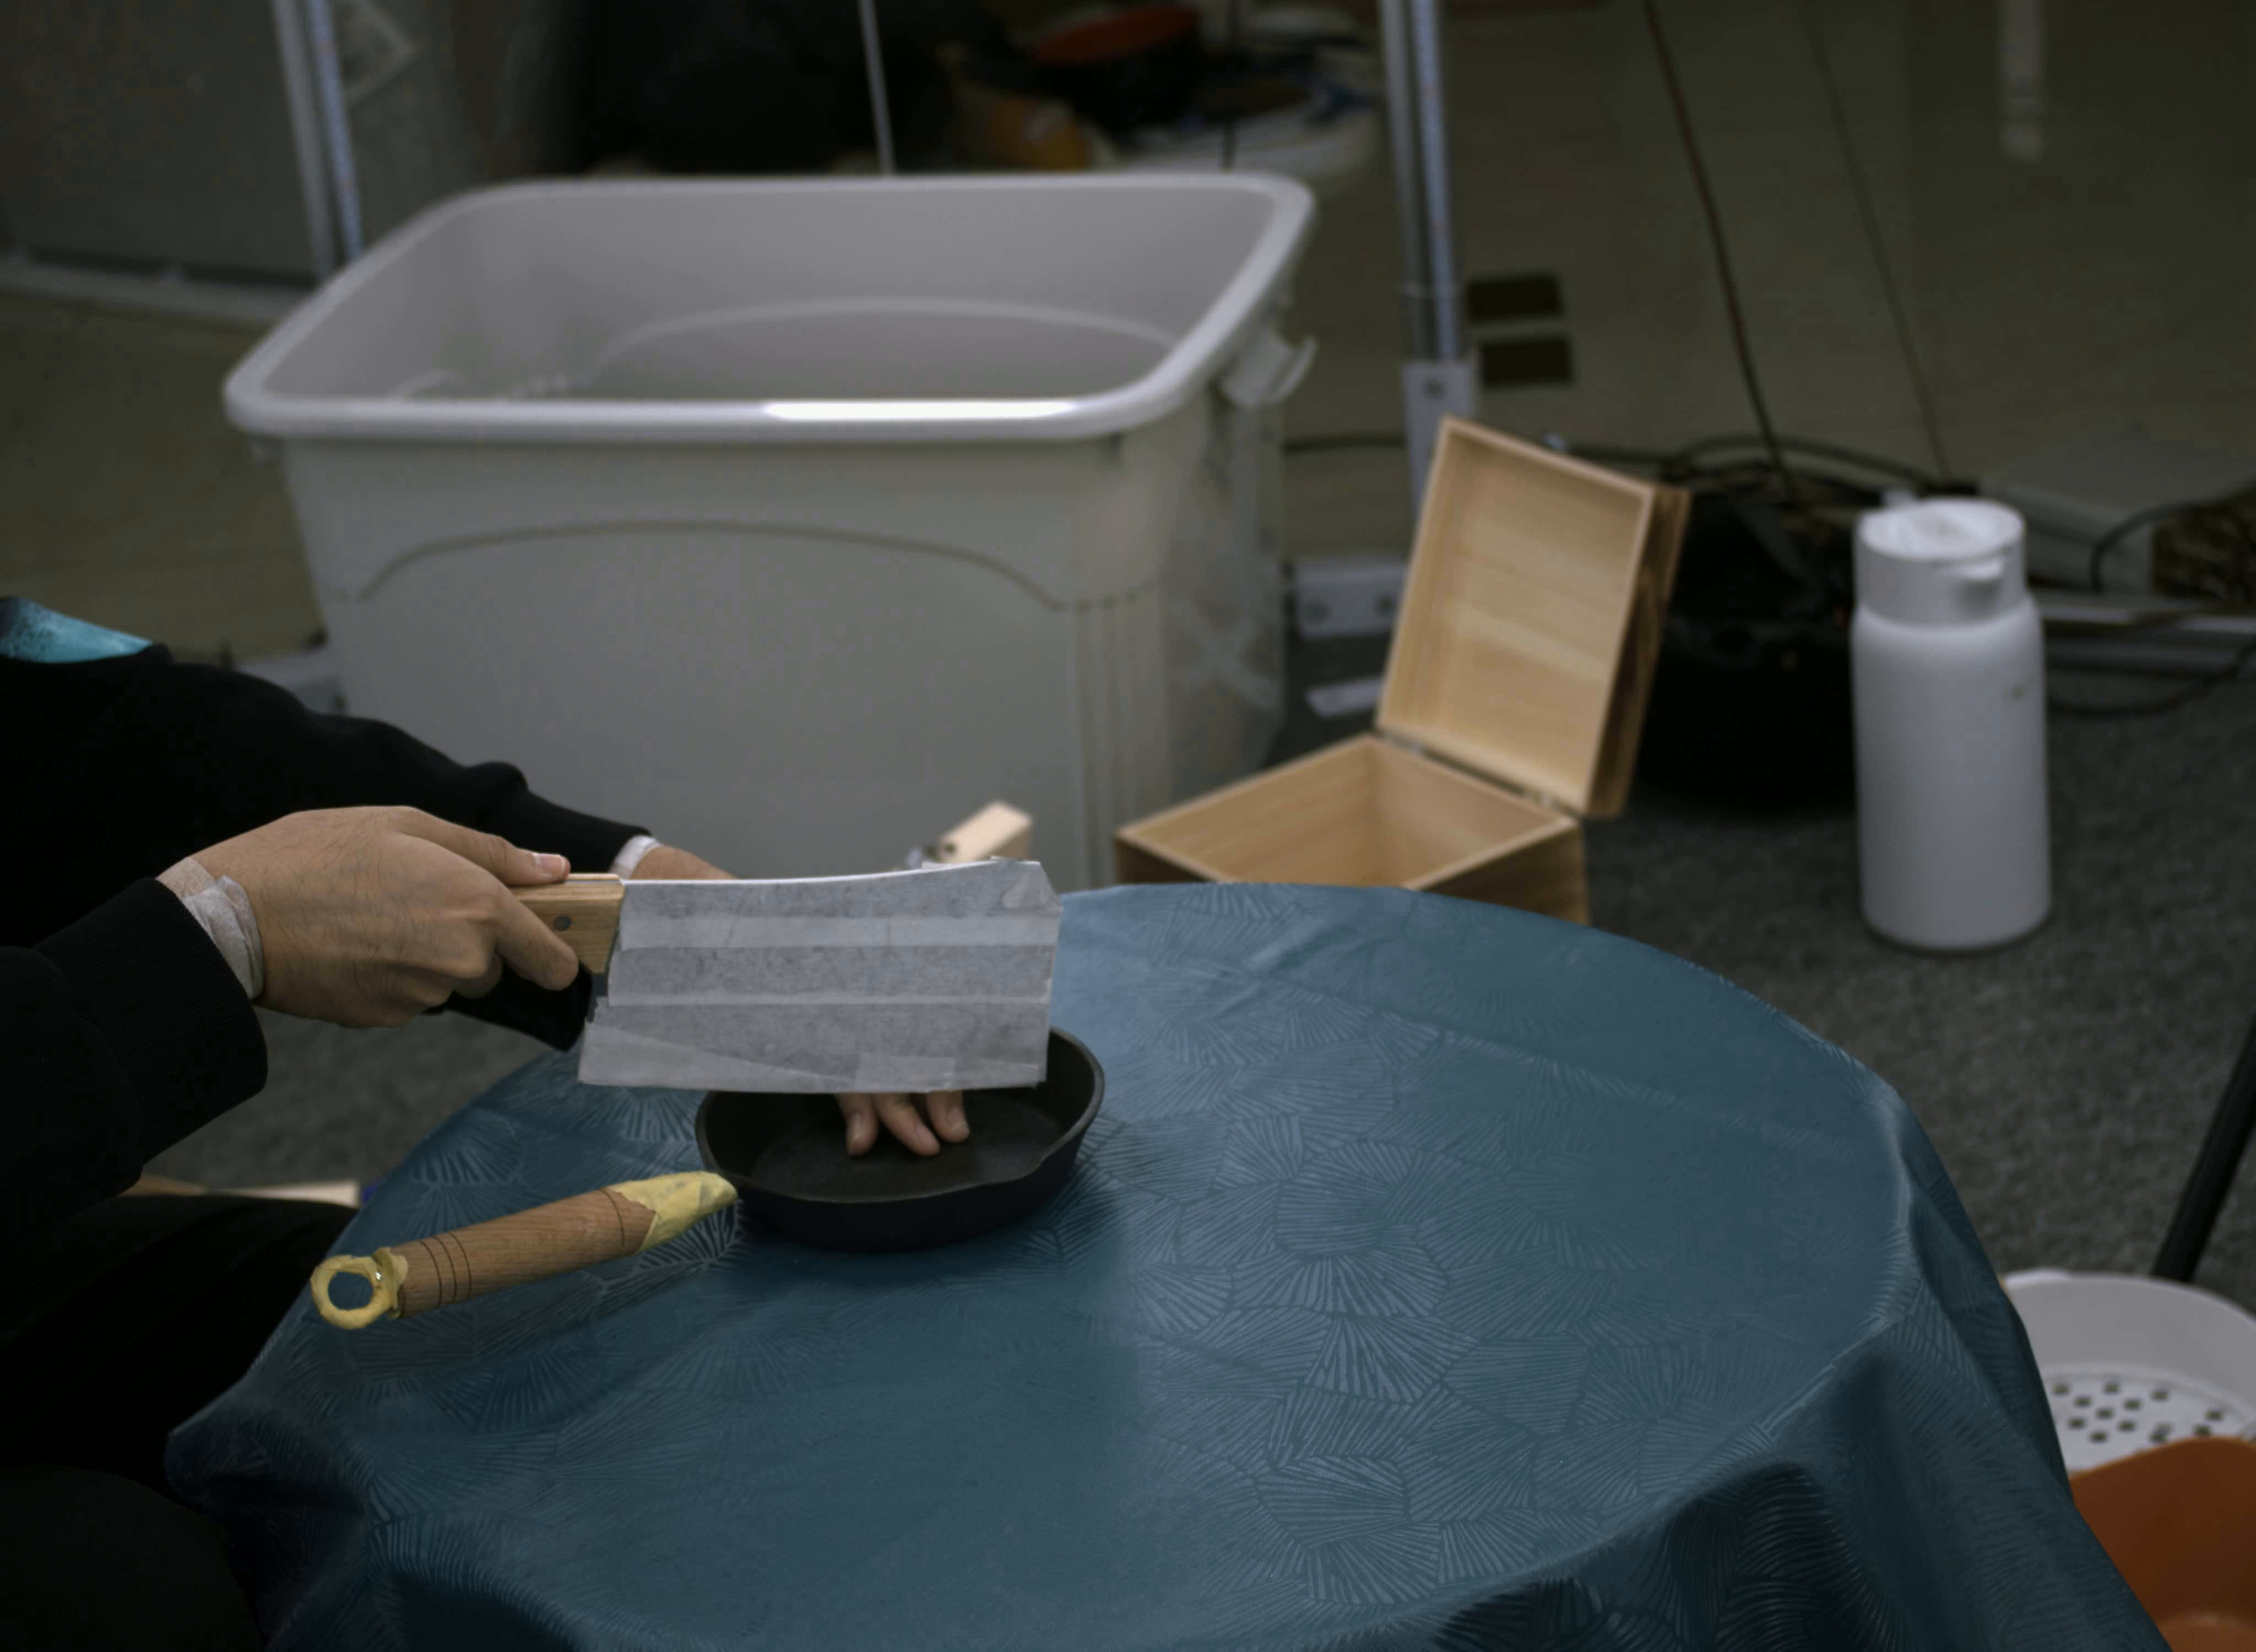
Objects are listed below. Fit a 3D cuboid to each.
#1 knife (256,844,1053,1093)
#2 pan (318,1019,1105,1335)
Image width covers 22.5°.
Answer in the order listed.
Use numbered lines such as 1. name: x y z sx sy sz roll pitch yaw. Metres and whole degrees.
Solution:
1. knife: -0.170 0.050 2.115 0.315 0.115 0.021 4 26 -21
2. pan: -0.156 0.138 2.128 0.322 0.050 0.167 -19 28 -28
